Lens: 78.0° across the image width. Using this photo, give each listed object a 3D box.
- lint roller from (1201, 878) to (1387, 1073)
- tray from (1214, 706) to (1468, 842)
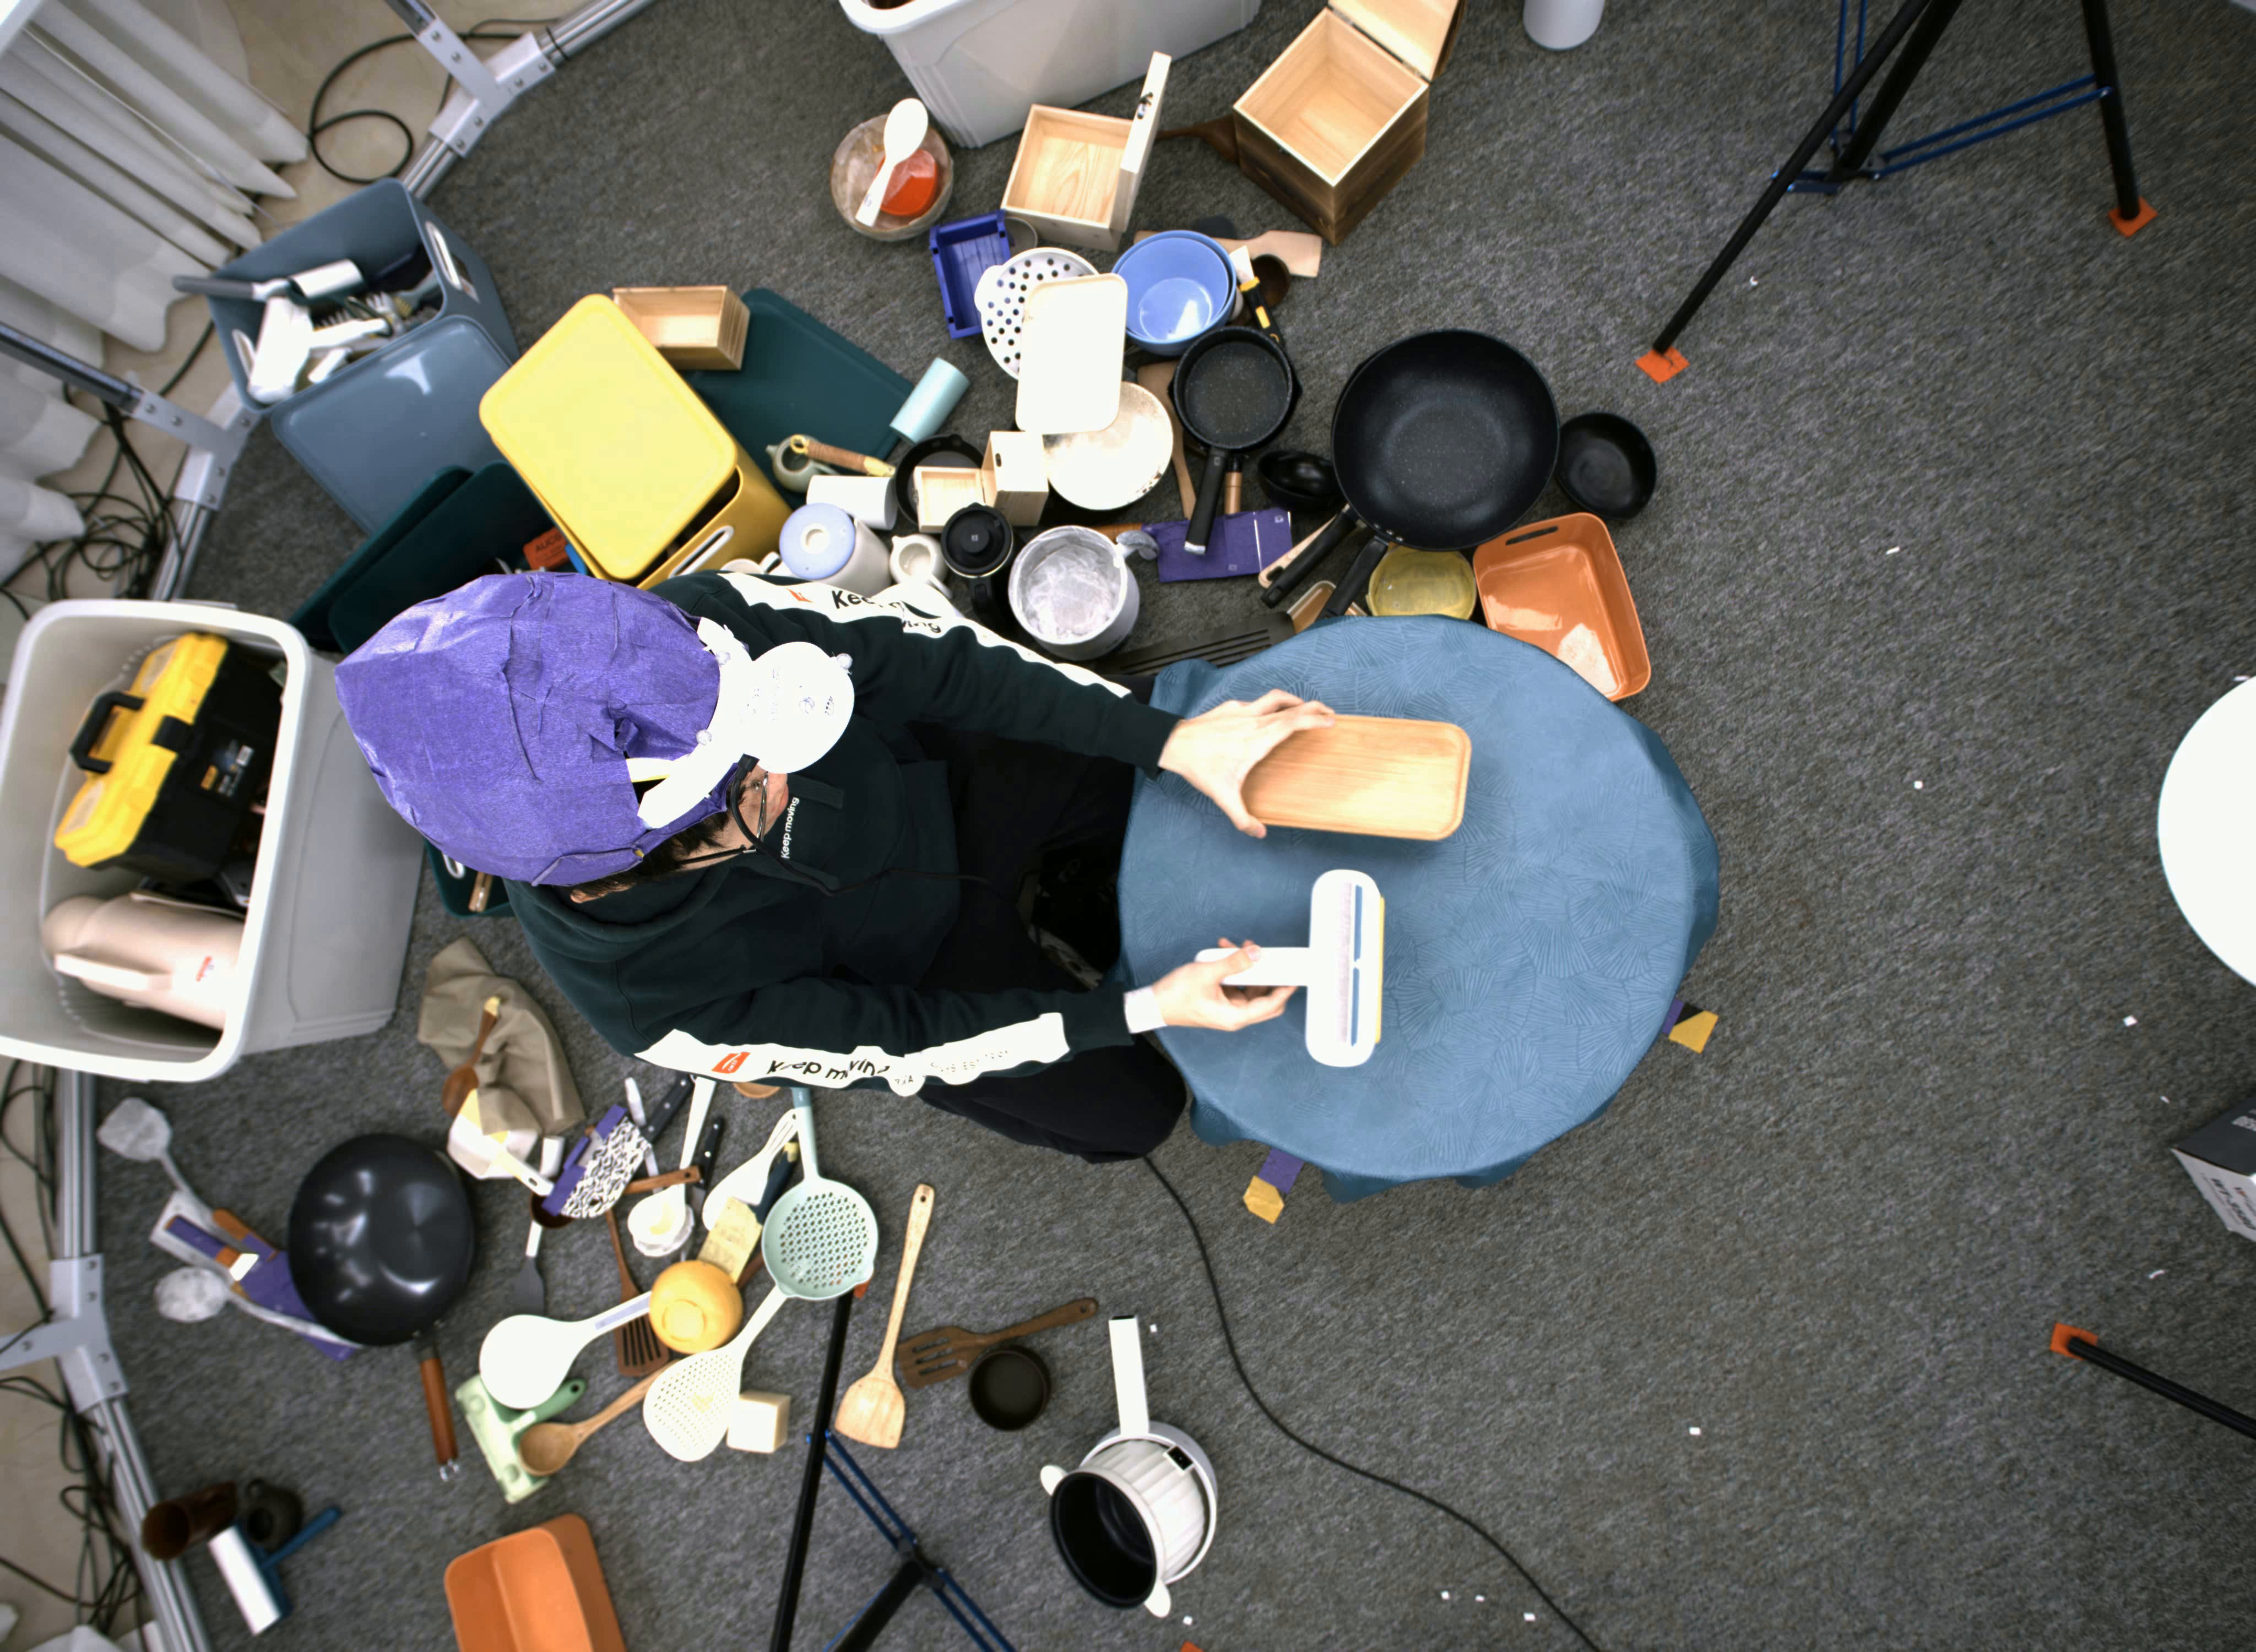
[{"bbox_3d":[0.156,0.143,1.383,0.193,0.074,0.191,4,79,26],"label":"lint roller"},{"bbox_3d":[0.216,-0.055,1.404,0.251,0.023,0.128,7,72,20],"label":"tray"}]
